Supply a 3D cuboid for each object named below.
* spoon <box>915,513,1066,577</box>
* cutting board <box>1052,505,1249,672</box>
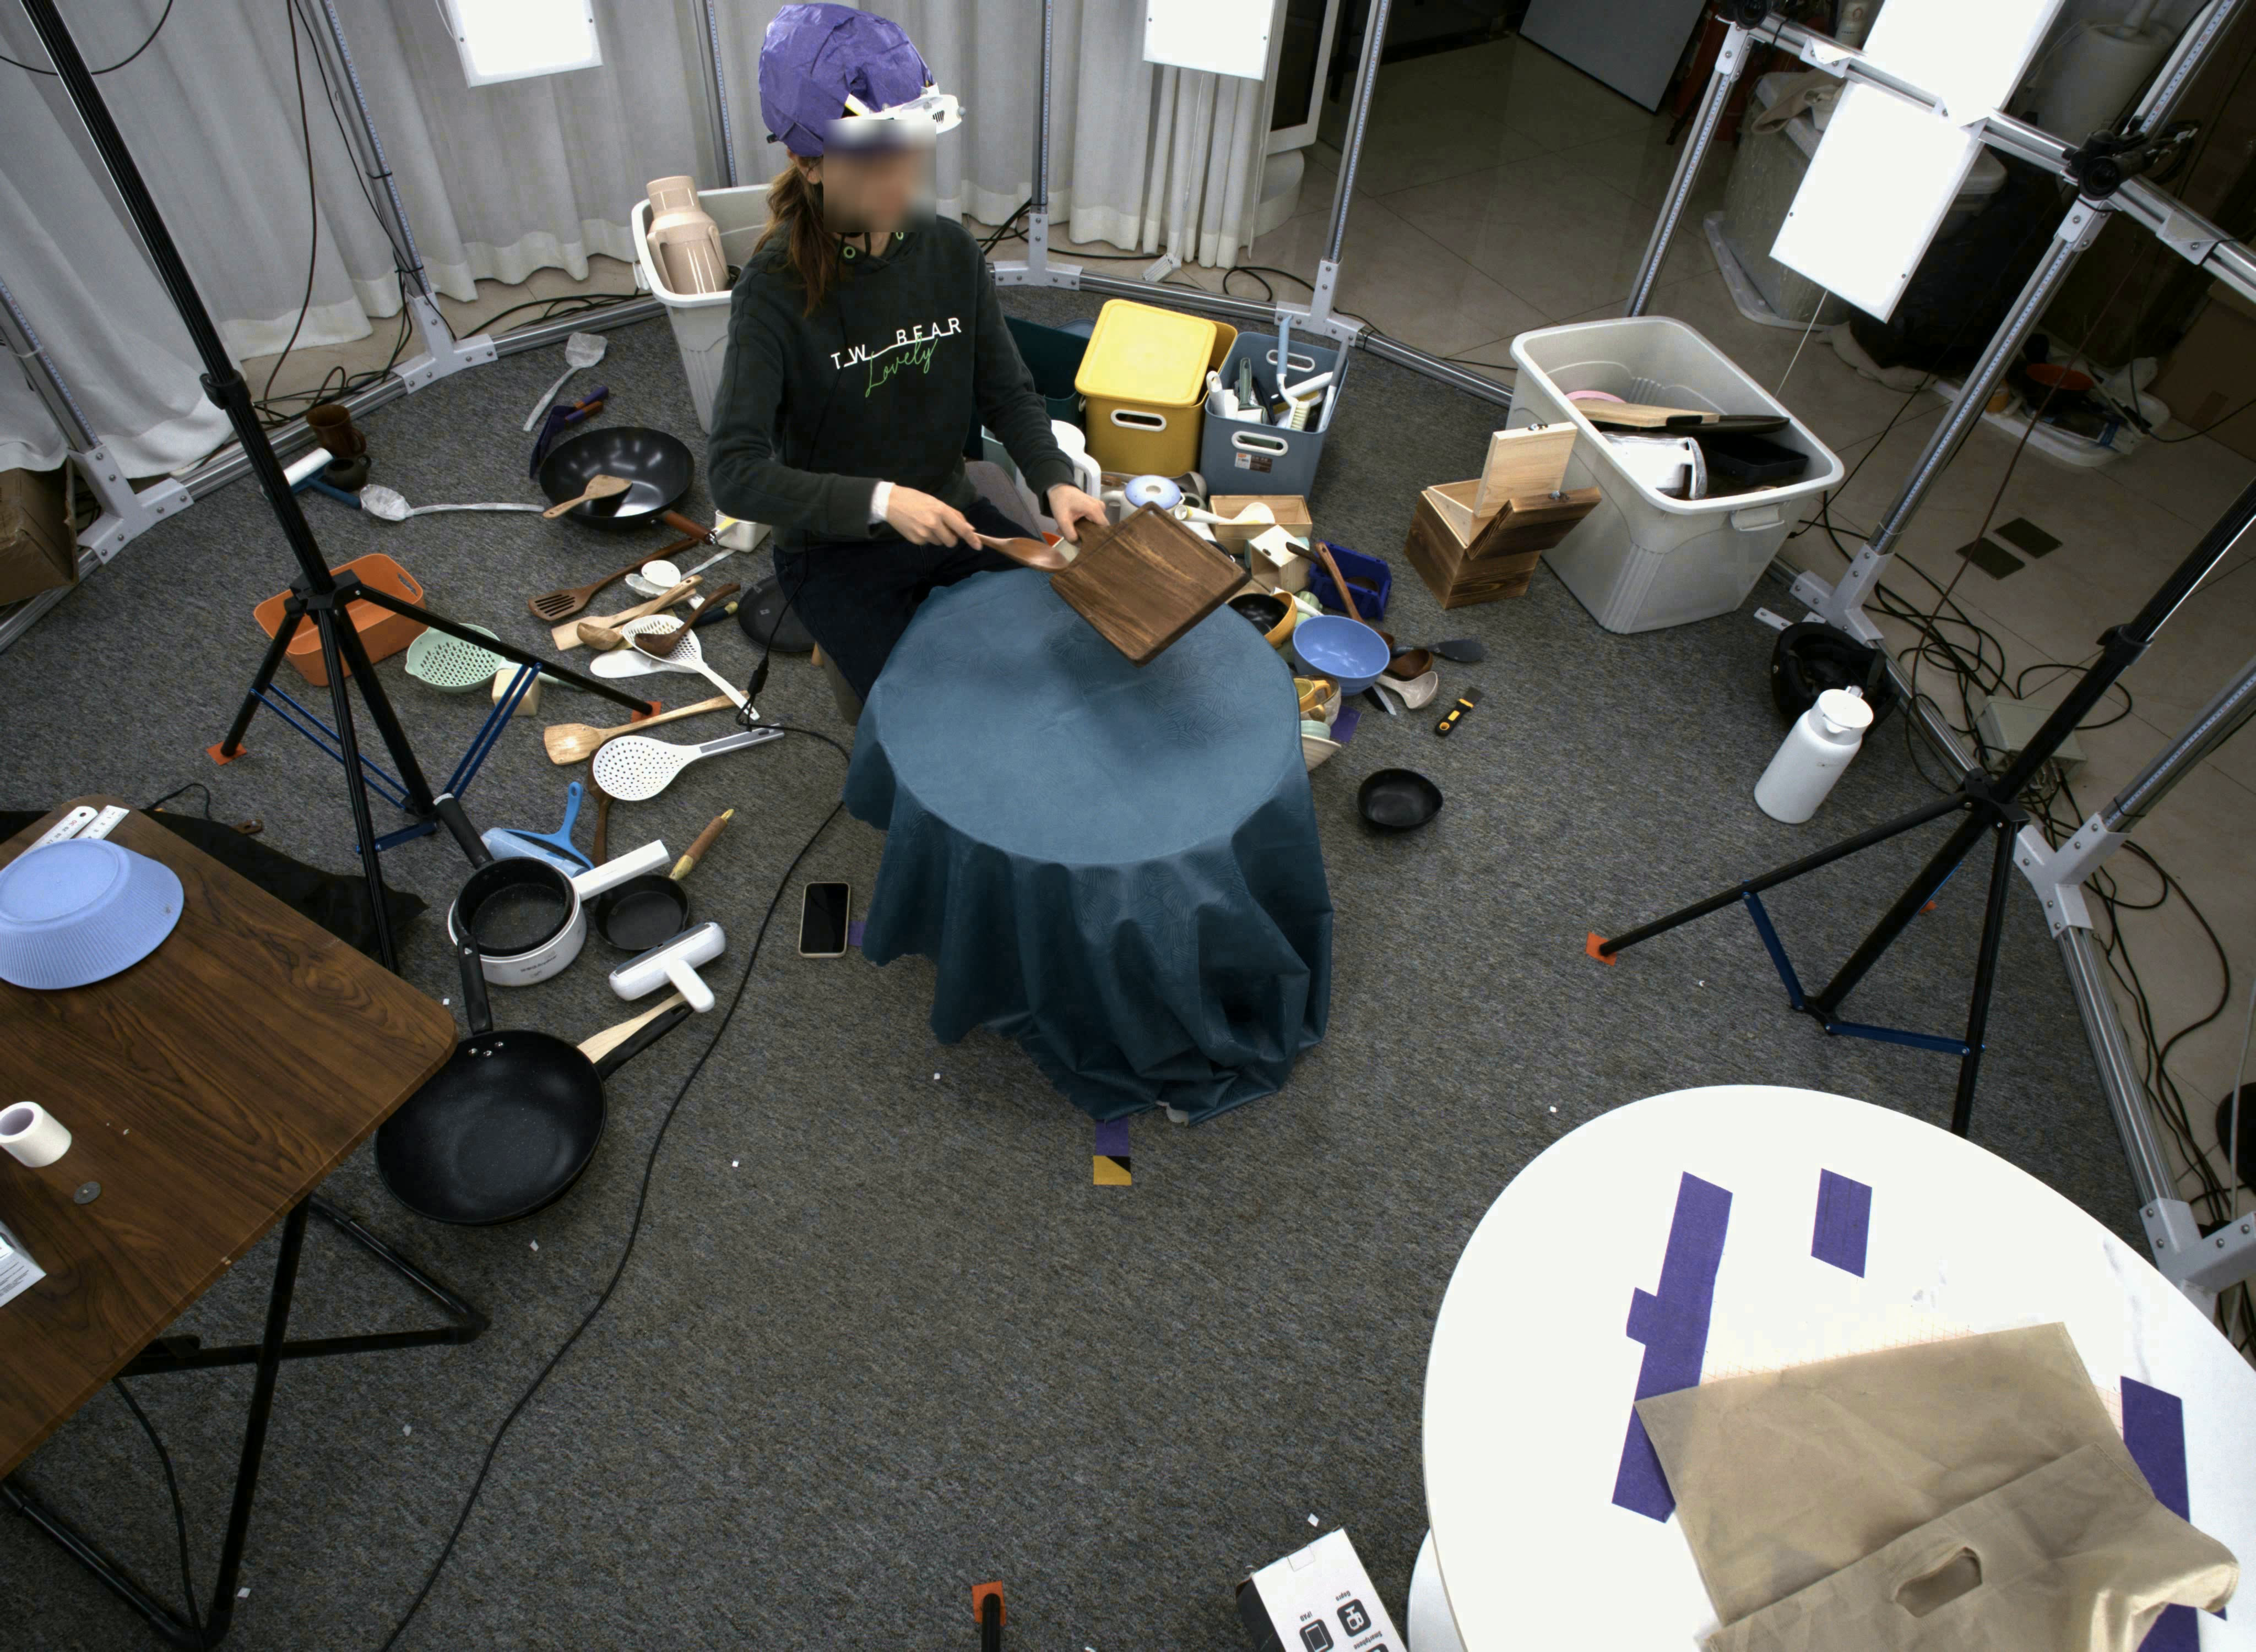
[{"bbox_3d":[-0.188,-0.388,1.778,0.214,0.017,0.077,16,38,-17],"label":"spoon"},{"bbox_3d":[0.002,-0.368,1.847,0.201,0.022,0.360,-39,47,-3],"label":"cutting board"}]
